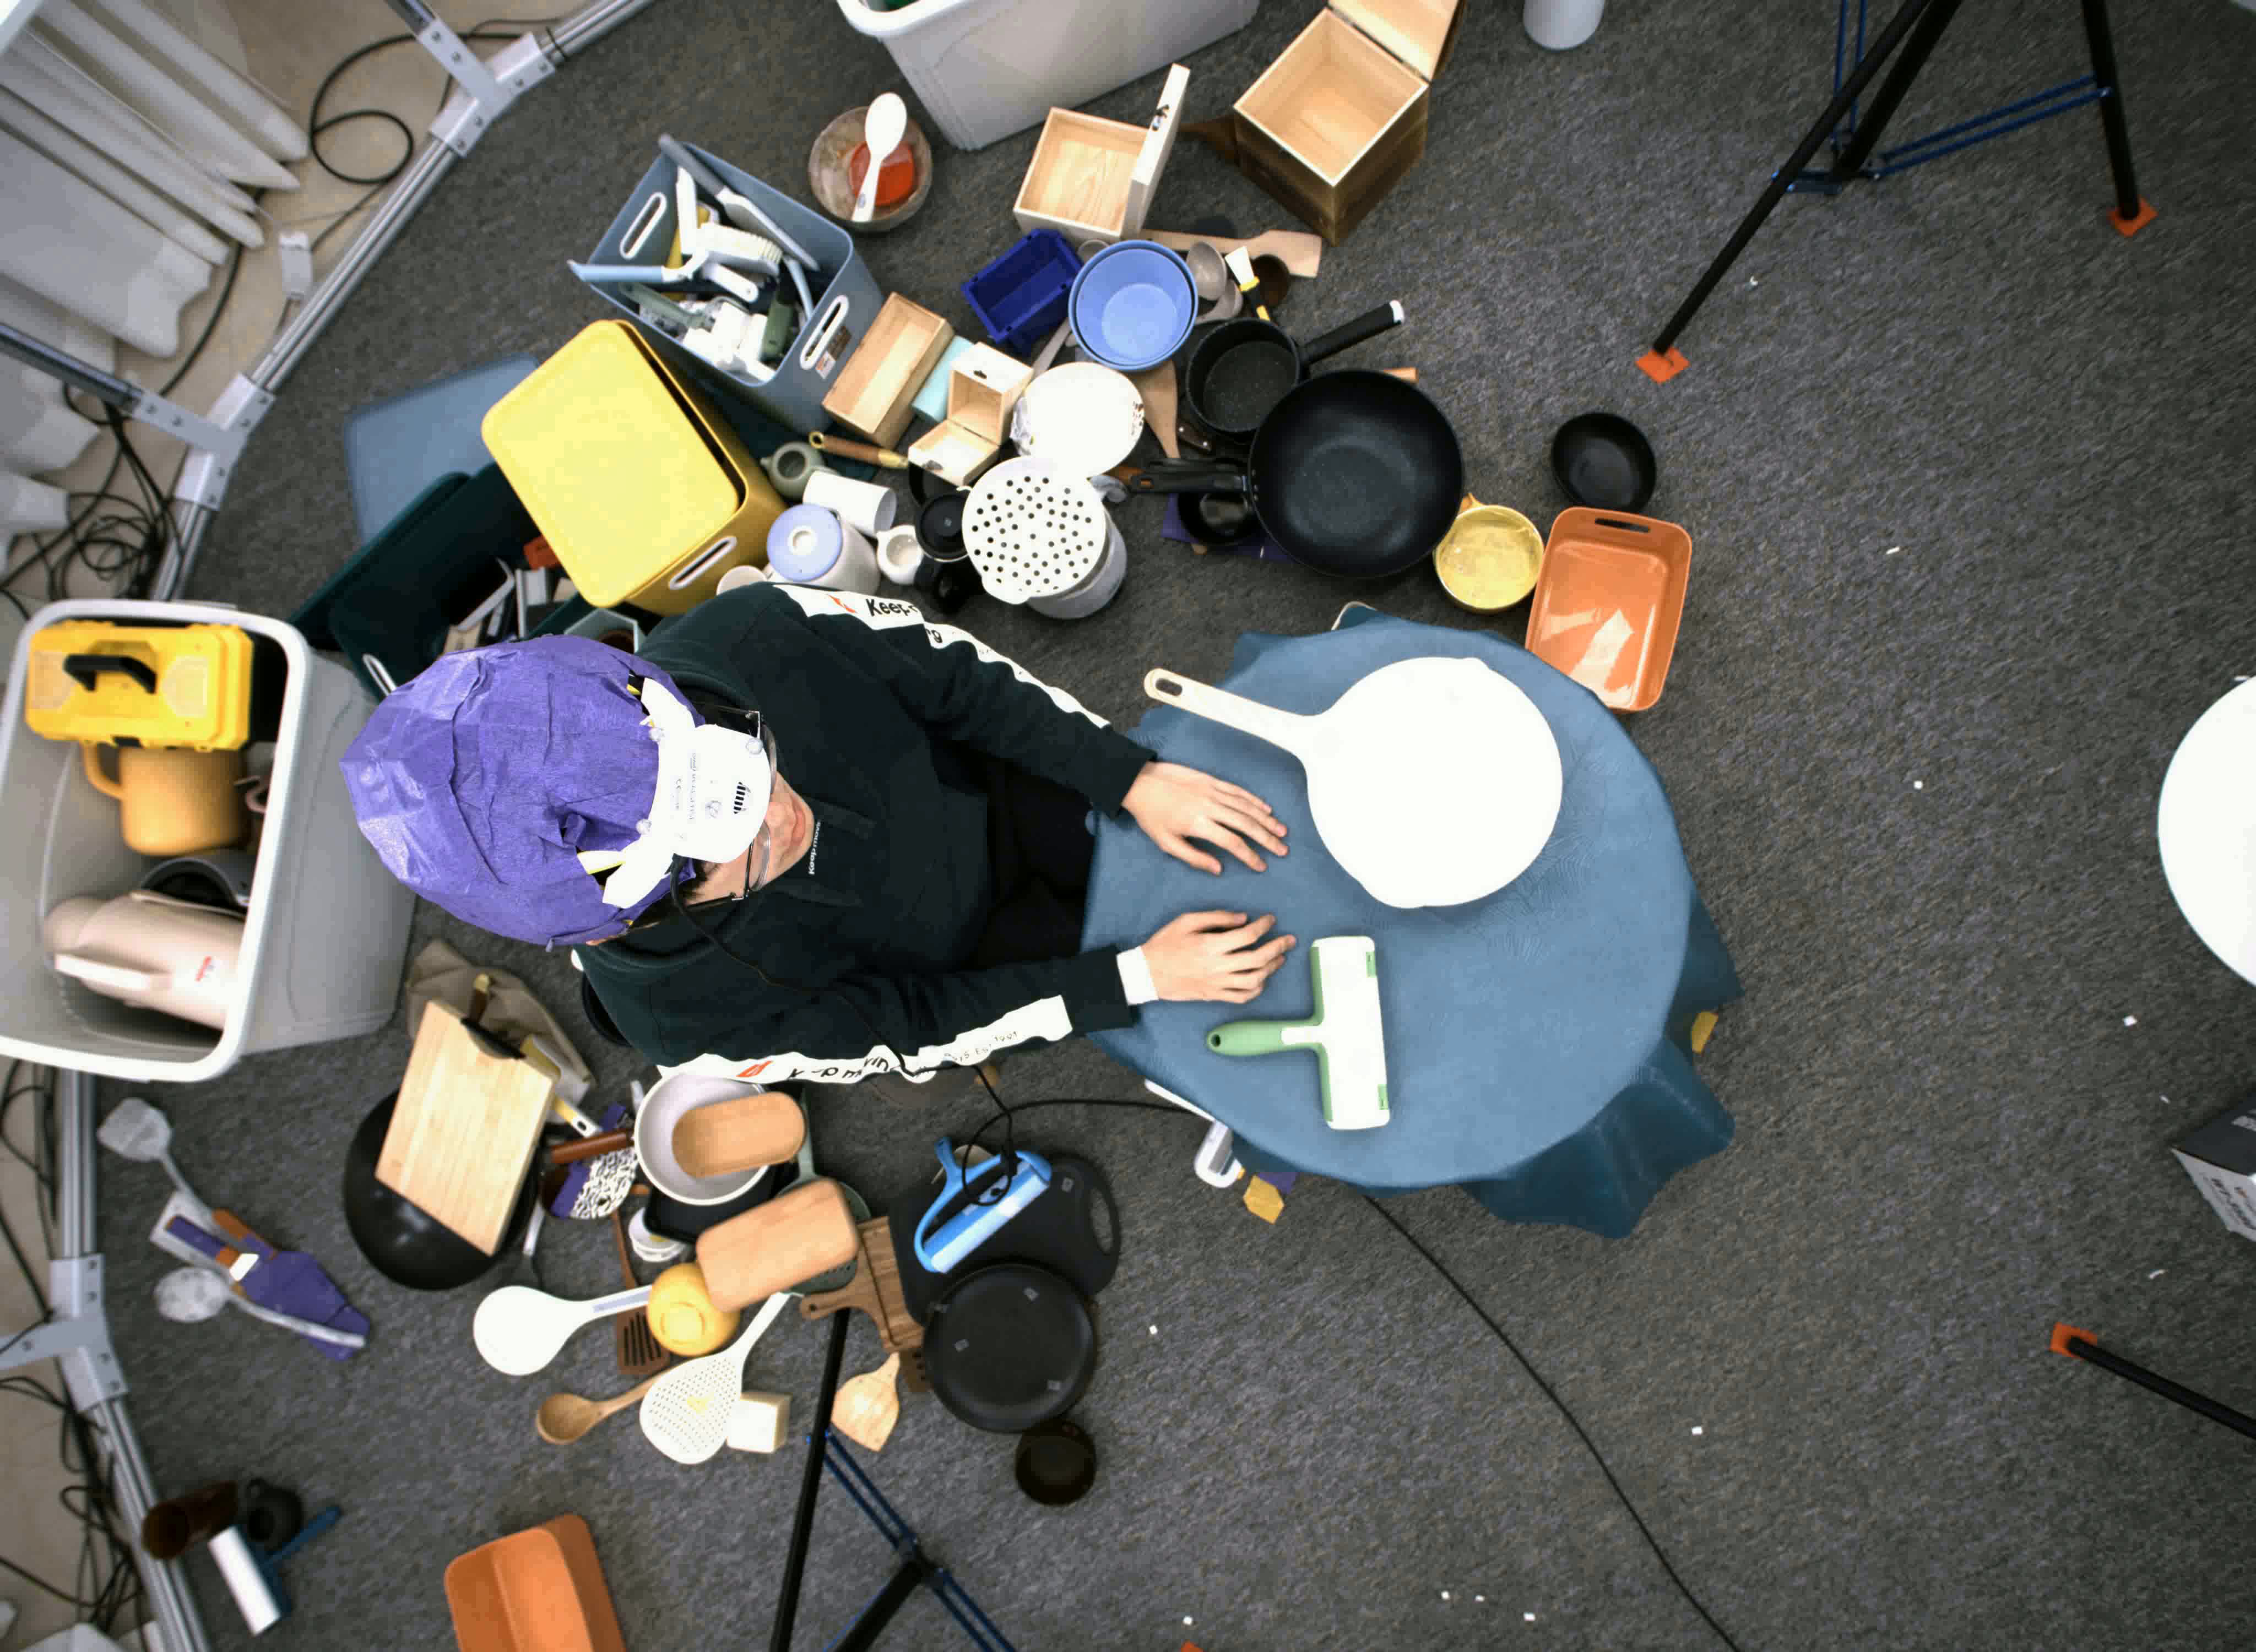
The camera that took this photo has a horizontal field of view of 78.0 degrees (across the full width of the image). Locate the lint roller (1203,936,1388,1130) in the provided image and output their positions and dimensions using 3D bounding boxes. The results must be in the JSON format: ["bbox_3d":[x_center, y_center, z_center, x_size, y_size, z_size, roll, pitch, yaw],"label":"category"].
[{"bbox_3d":[0.168,0.215,1.428,0.184,0.082,0.197,-5,86,5],"label":"lint roller"}]

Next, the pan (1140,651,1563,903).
[{"bbox_3d":[0.226,-0.079,1.421,0.435,0.102,0.263,19,92,11],"label":"pan"}]
